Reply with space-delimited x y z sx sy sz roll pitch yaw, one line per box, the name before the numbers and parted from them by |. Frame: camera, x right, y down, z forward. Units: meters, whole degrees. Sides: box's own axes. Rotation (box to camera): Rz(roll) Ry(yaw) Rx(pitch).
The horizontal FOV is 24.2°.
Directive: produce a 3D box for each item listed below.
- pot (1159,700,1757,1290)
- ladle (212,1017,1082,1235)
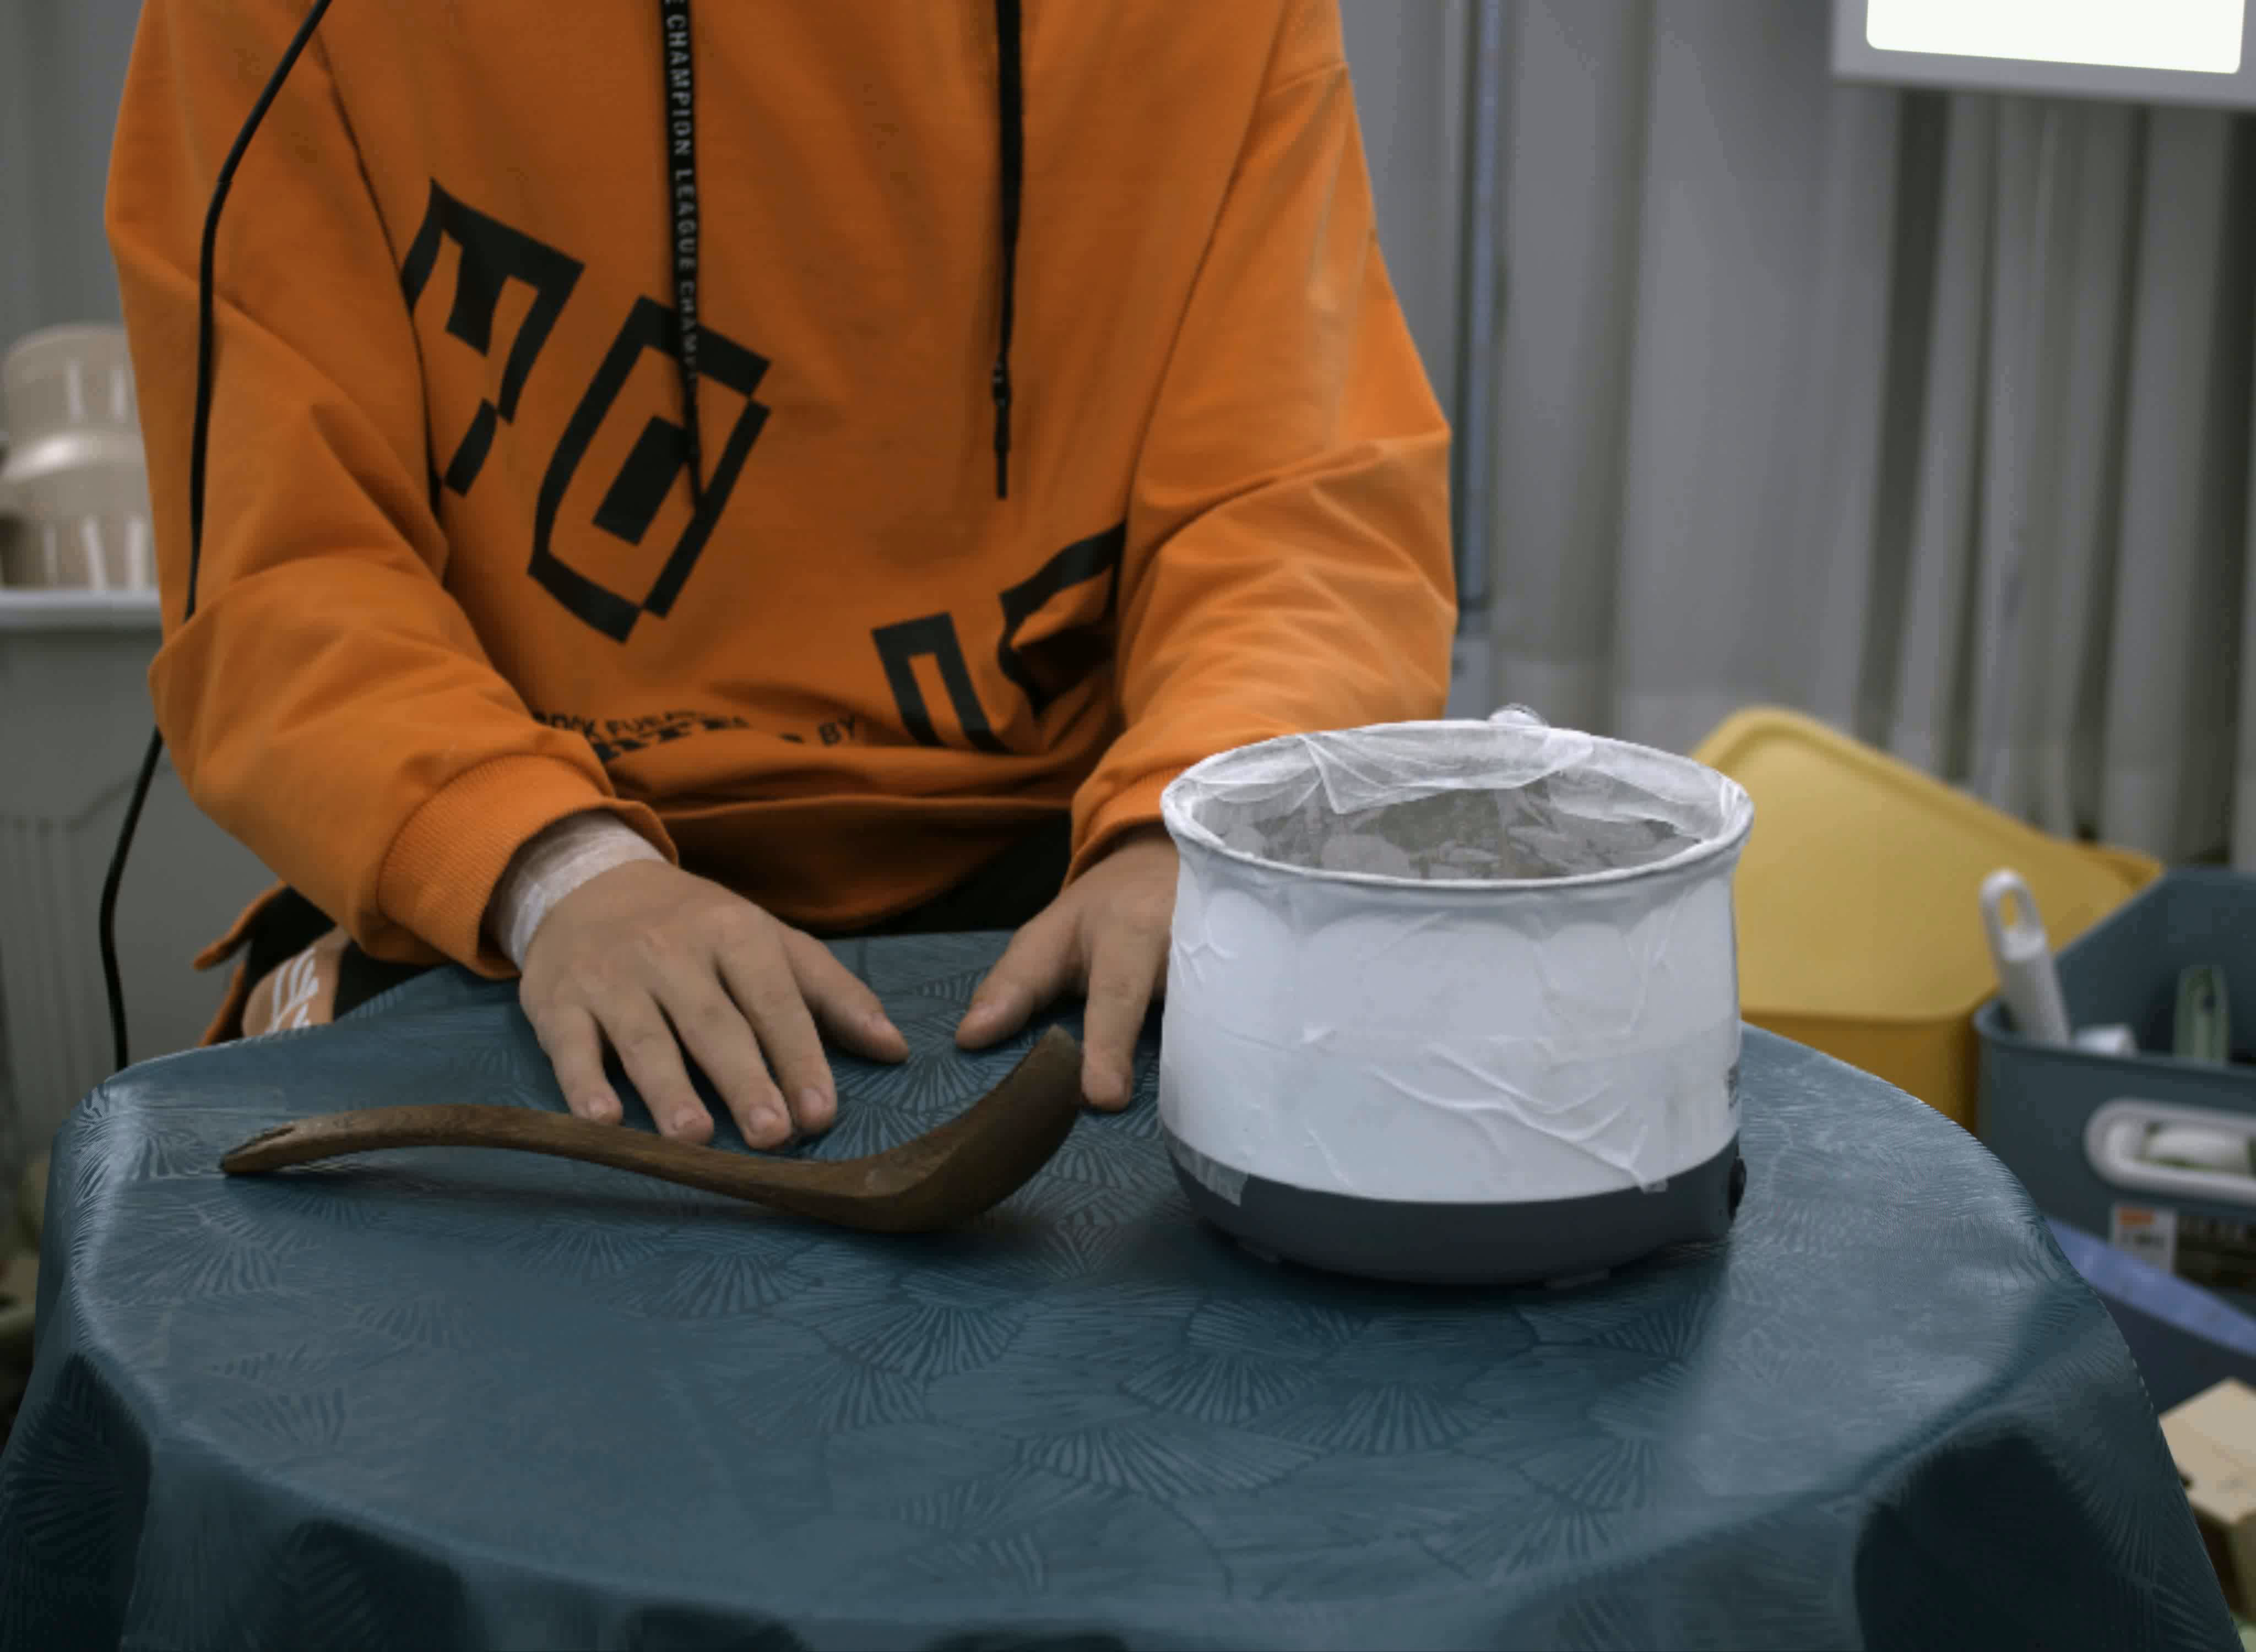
pot | 0.104 0.045 1.609 0.177 0.138 0.233 4 17 11
ladle | -0.148 0.082 1.597 0.272 0.072 0.076 5 13 12
